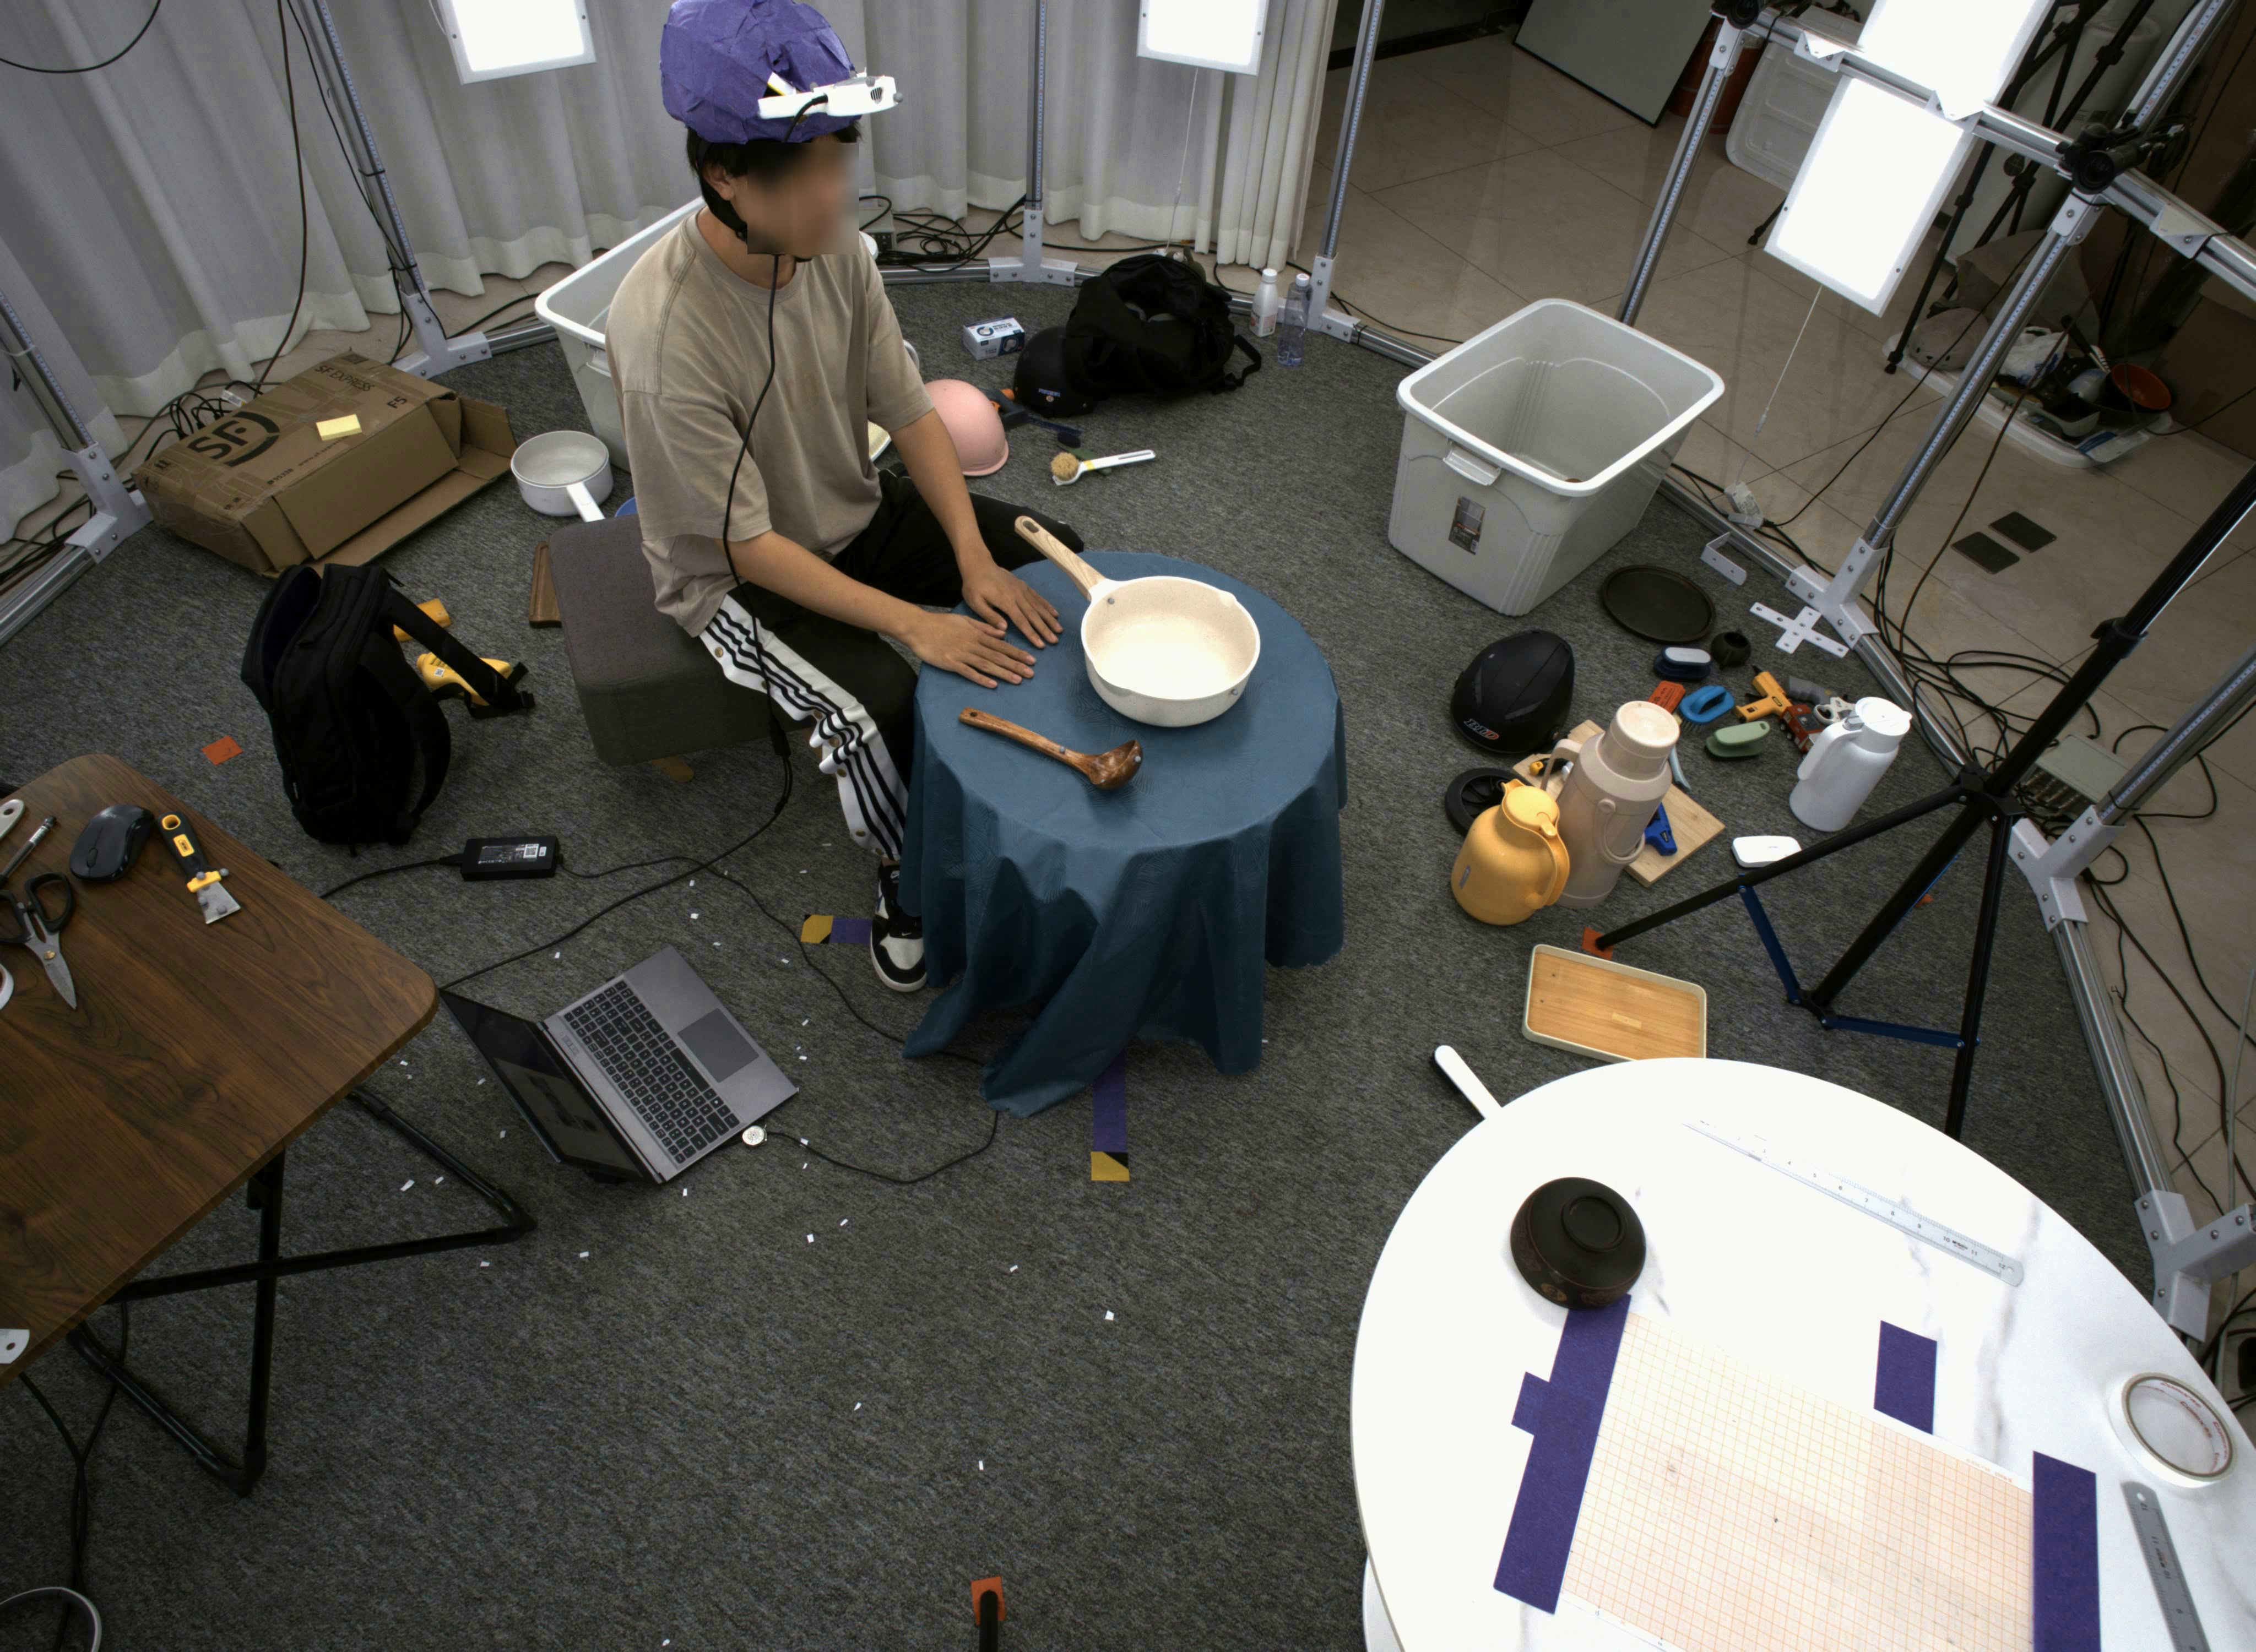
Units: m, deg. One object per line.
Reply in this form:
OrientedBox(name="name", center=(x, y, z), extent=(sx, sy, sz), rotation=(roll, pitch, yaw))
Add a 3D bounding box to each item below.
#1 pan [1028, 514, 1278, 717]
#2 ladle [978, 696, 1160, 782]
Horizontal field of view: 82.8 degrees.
OrientedBox(name="pan", center=(0.016, -0.311, 1.862), extent=(0.441, 0.099, 0.266), rotation=(37, 57, 25))
OrientedBox(name="ladle", center=(-0.084, -0.133, 1.708), extent=(0.276, 0.075, 0.083), rotation=(26, 52, 16))
